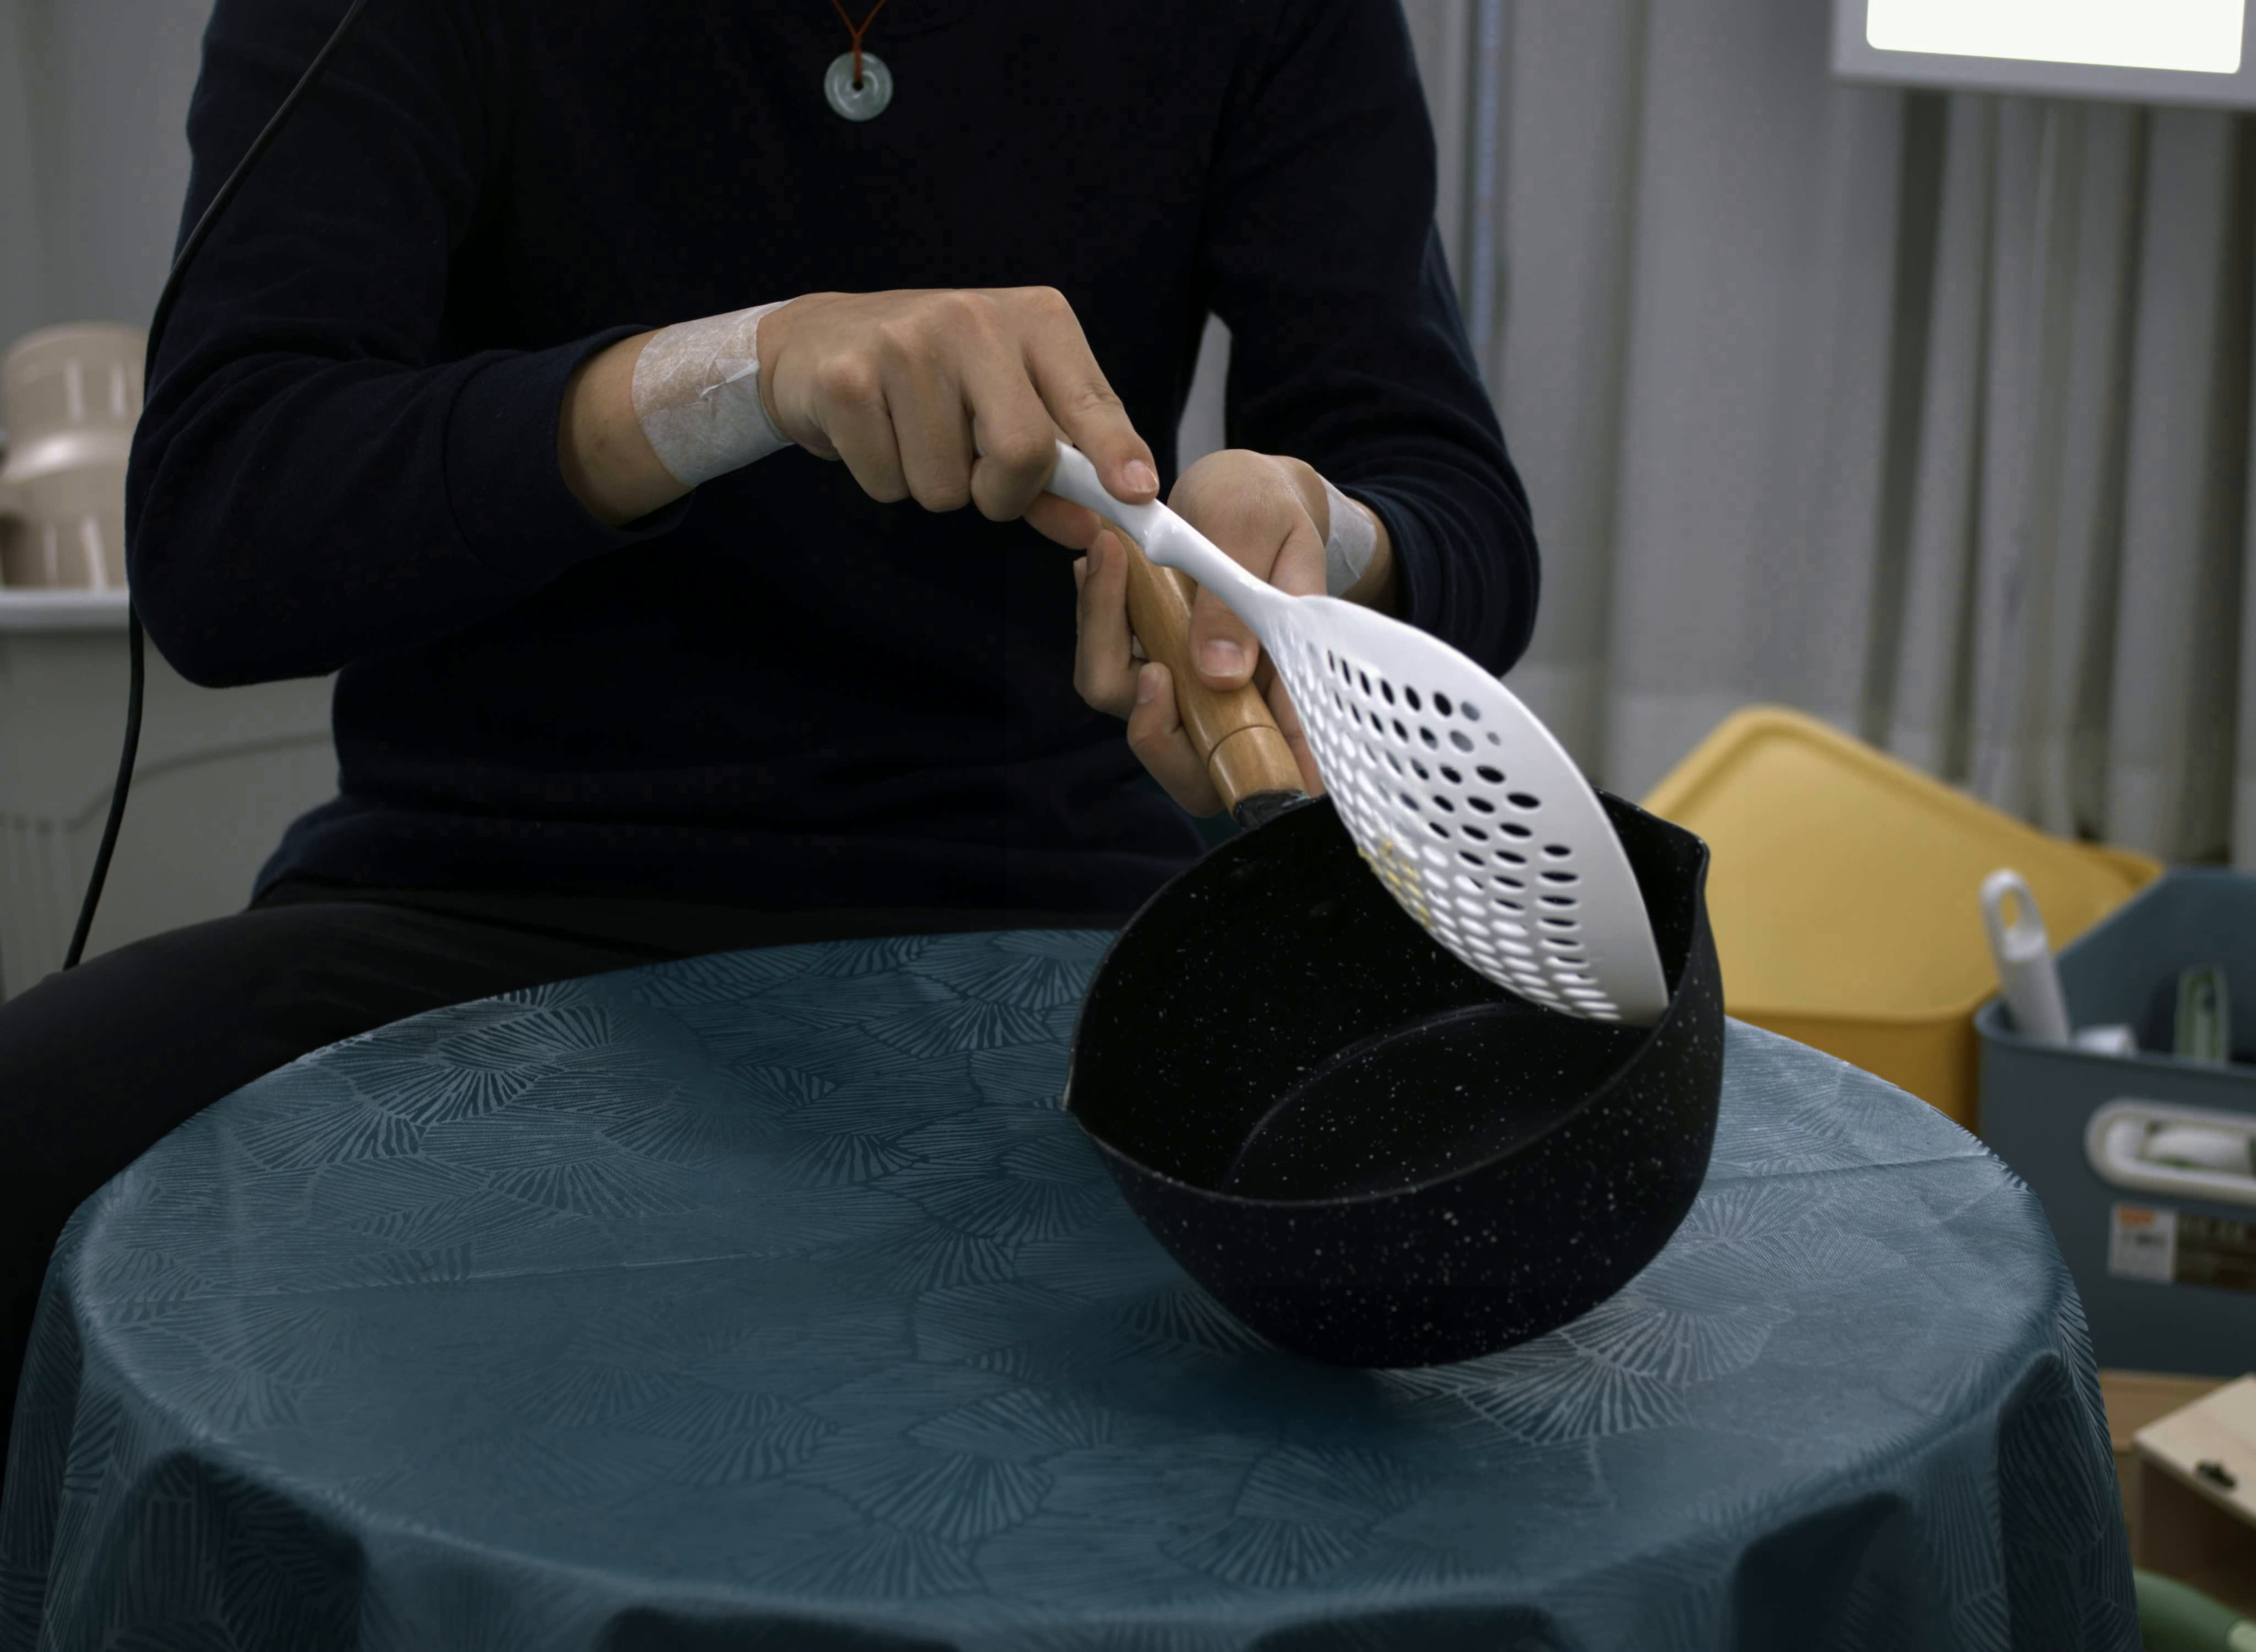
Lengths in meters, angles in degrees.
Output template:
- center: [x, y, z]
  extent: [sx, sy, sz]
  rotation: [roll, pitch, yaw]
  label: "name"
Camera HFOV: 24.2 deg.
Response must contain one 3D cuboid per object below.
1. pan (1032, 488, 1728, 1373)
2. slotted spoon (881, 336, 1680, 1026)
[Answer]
- center: [0.057, 0.024, 1.559]
  extent: [0.207, 0.110, 0.338]
  rotation: [-25, 38, -4]
  label: "pan"
- center: [0.036, -0.054, 1.512]
  extent: [0.050, 0.139, 0.343]
  rotation: [-34, 50, -11]
  label: "slotted spoon"
